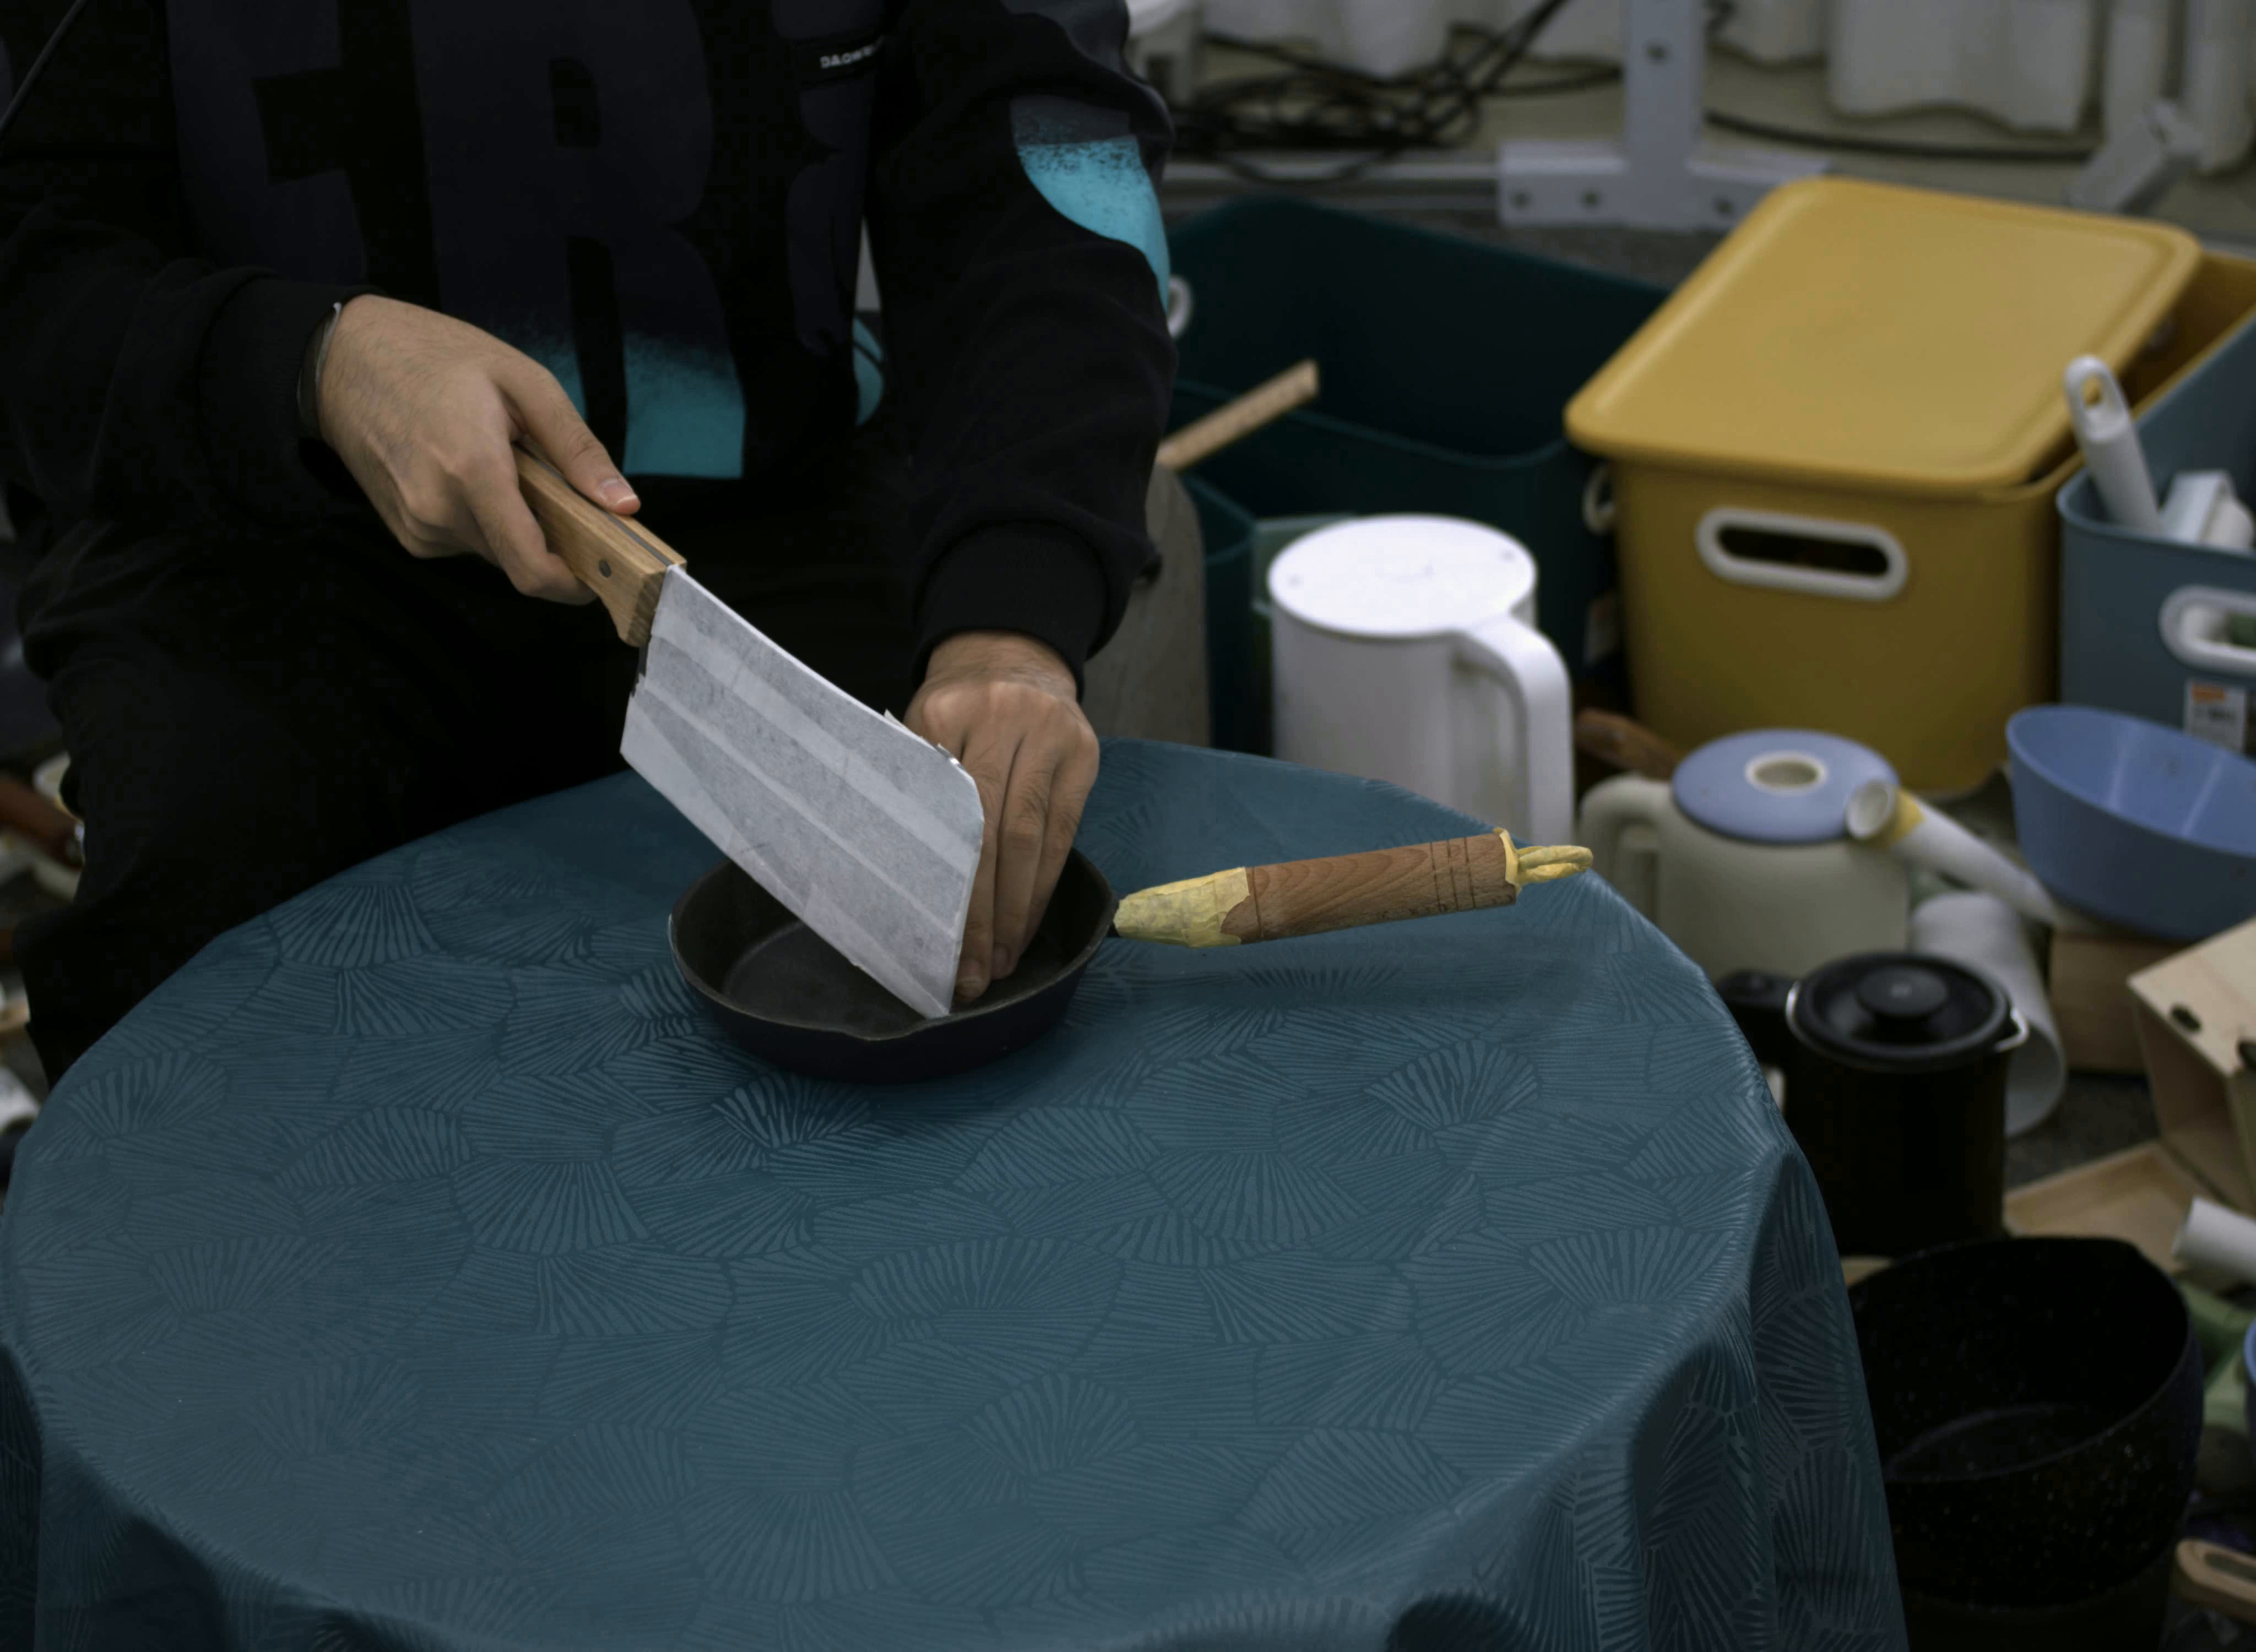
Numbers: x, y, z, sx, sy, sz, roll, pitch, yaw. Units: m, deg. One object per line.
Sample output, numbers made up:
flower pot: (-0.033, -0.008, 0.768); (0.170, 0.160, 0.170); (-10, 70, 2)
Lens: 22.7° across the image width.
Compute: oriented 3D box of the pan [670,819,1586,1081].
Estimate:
pan: (0.001, 0.035, 1.975); (0.322, 0.049, 0.171); (-3, 27, 1)

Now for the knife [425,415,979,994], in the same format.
knife: (-0.153, -0.053, 2.009); (0.022, 0.112, 0.317); (-15, 46, -42)
